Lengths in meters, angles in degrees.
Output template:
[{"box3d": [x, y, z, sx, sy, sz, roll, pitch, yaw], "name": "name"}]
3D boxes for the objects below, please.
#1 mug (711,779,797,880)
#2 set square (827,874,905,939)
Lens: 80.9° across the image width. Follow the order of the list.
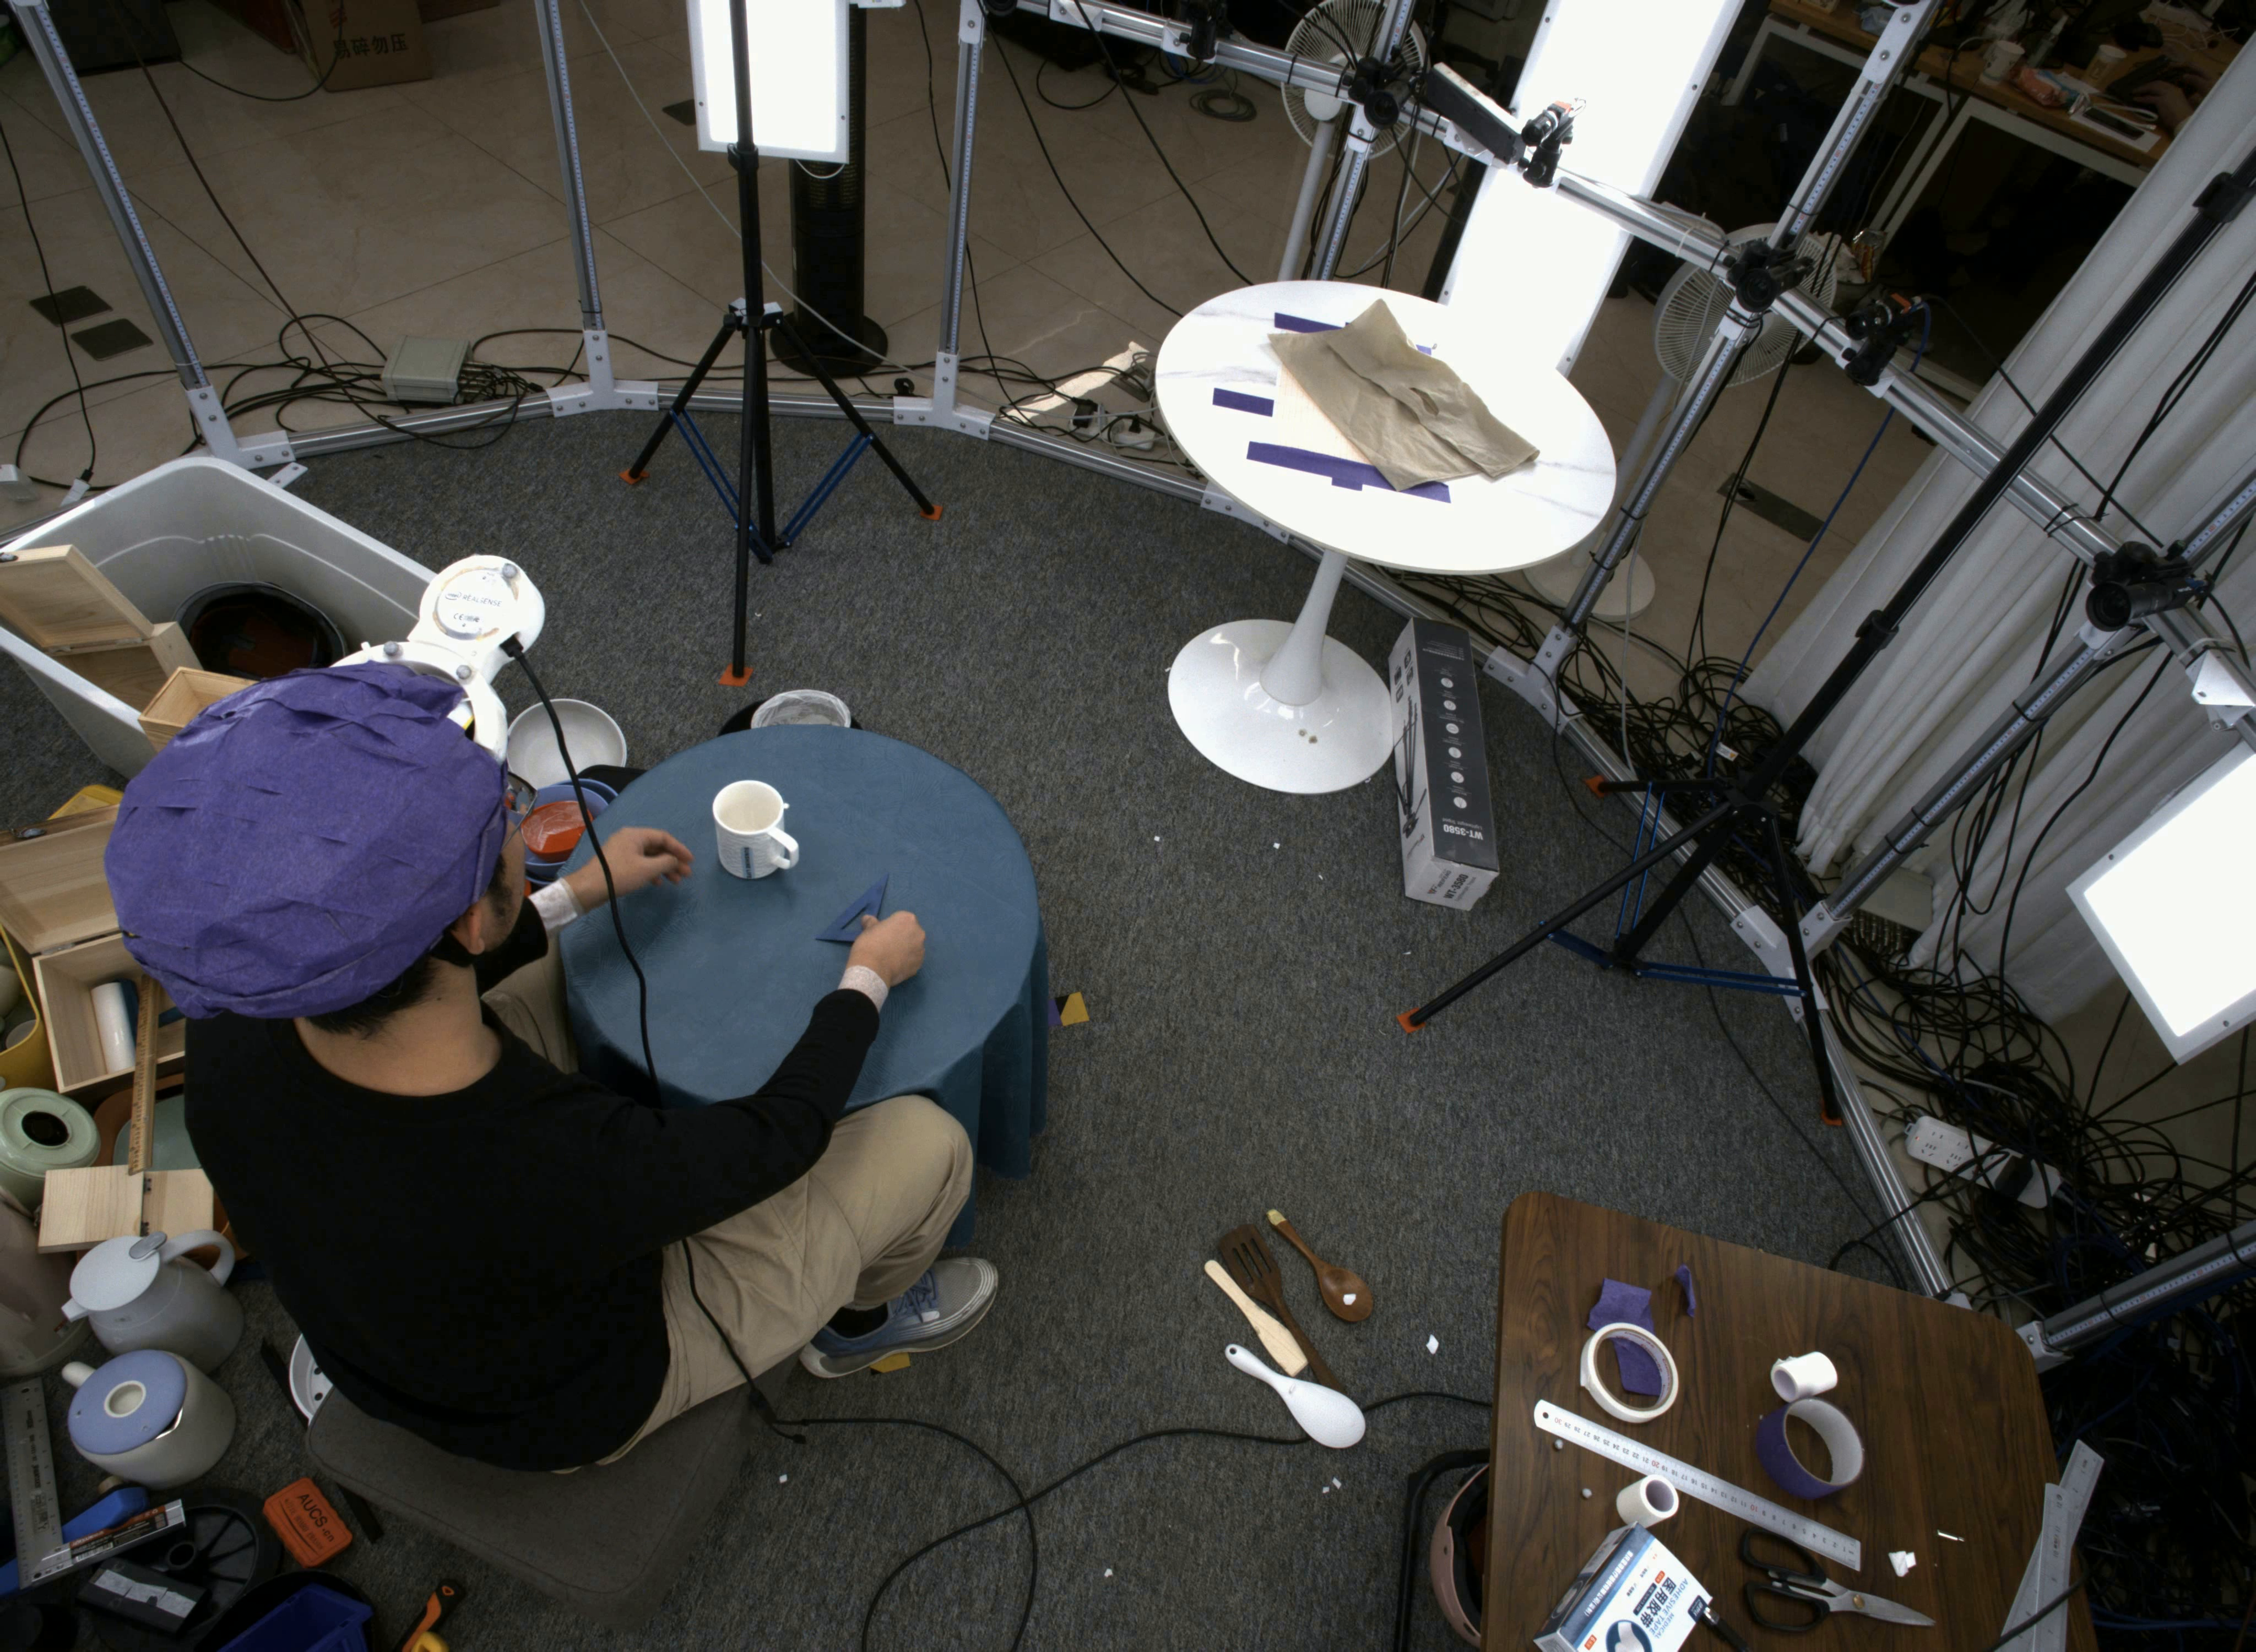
[{"box3d": [-0.466, 0.012, 1.632, 0.116, 0.104, 0.084, 30, 52, 11], "name": "mug"}, {"box3d": [-0.318, 0.106, 1.654, 0.059, 0.007, 0.132, 27, 51, 27], "name": "set square"}]
